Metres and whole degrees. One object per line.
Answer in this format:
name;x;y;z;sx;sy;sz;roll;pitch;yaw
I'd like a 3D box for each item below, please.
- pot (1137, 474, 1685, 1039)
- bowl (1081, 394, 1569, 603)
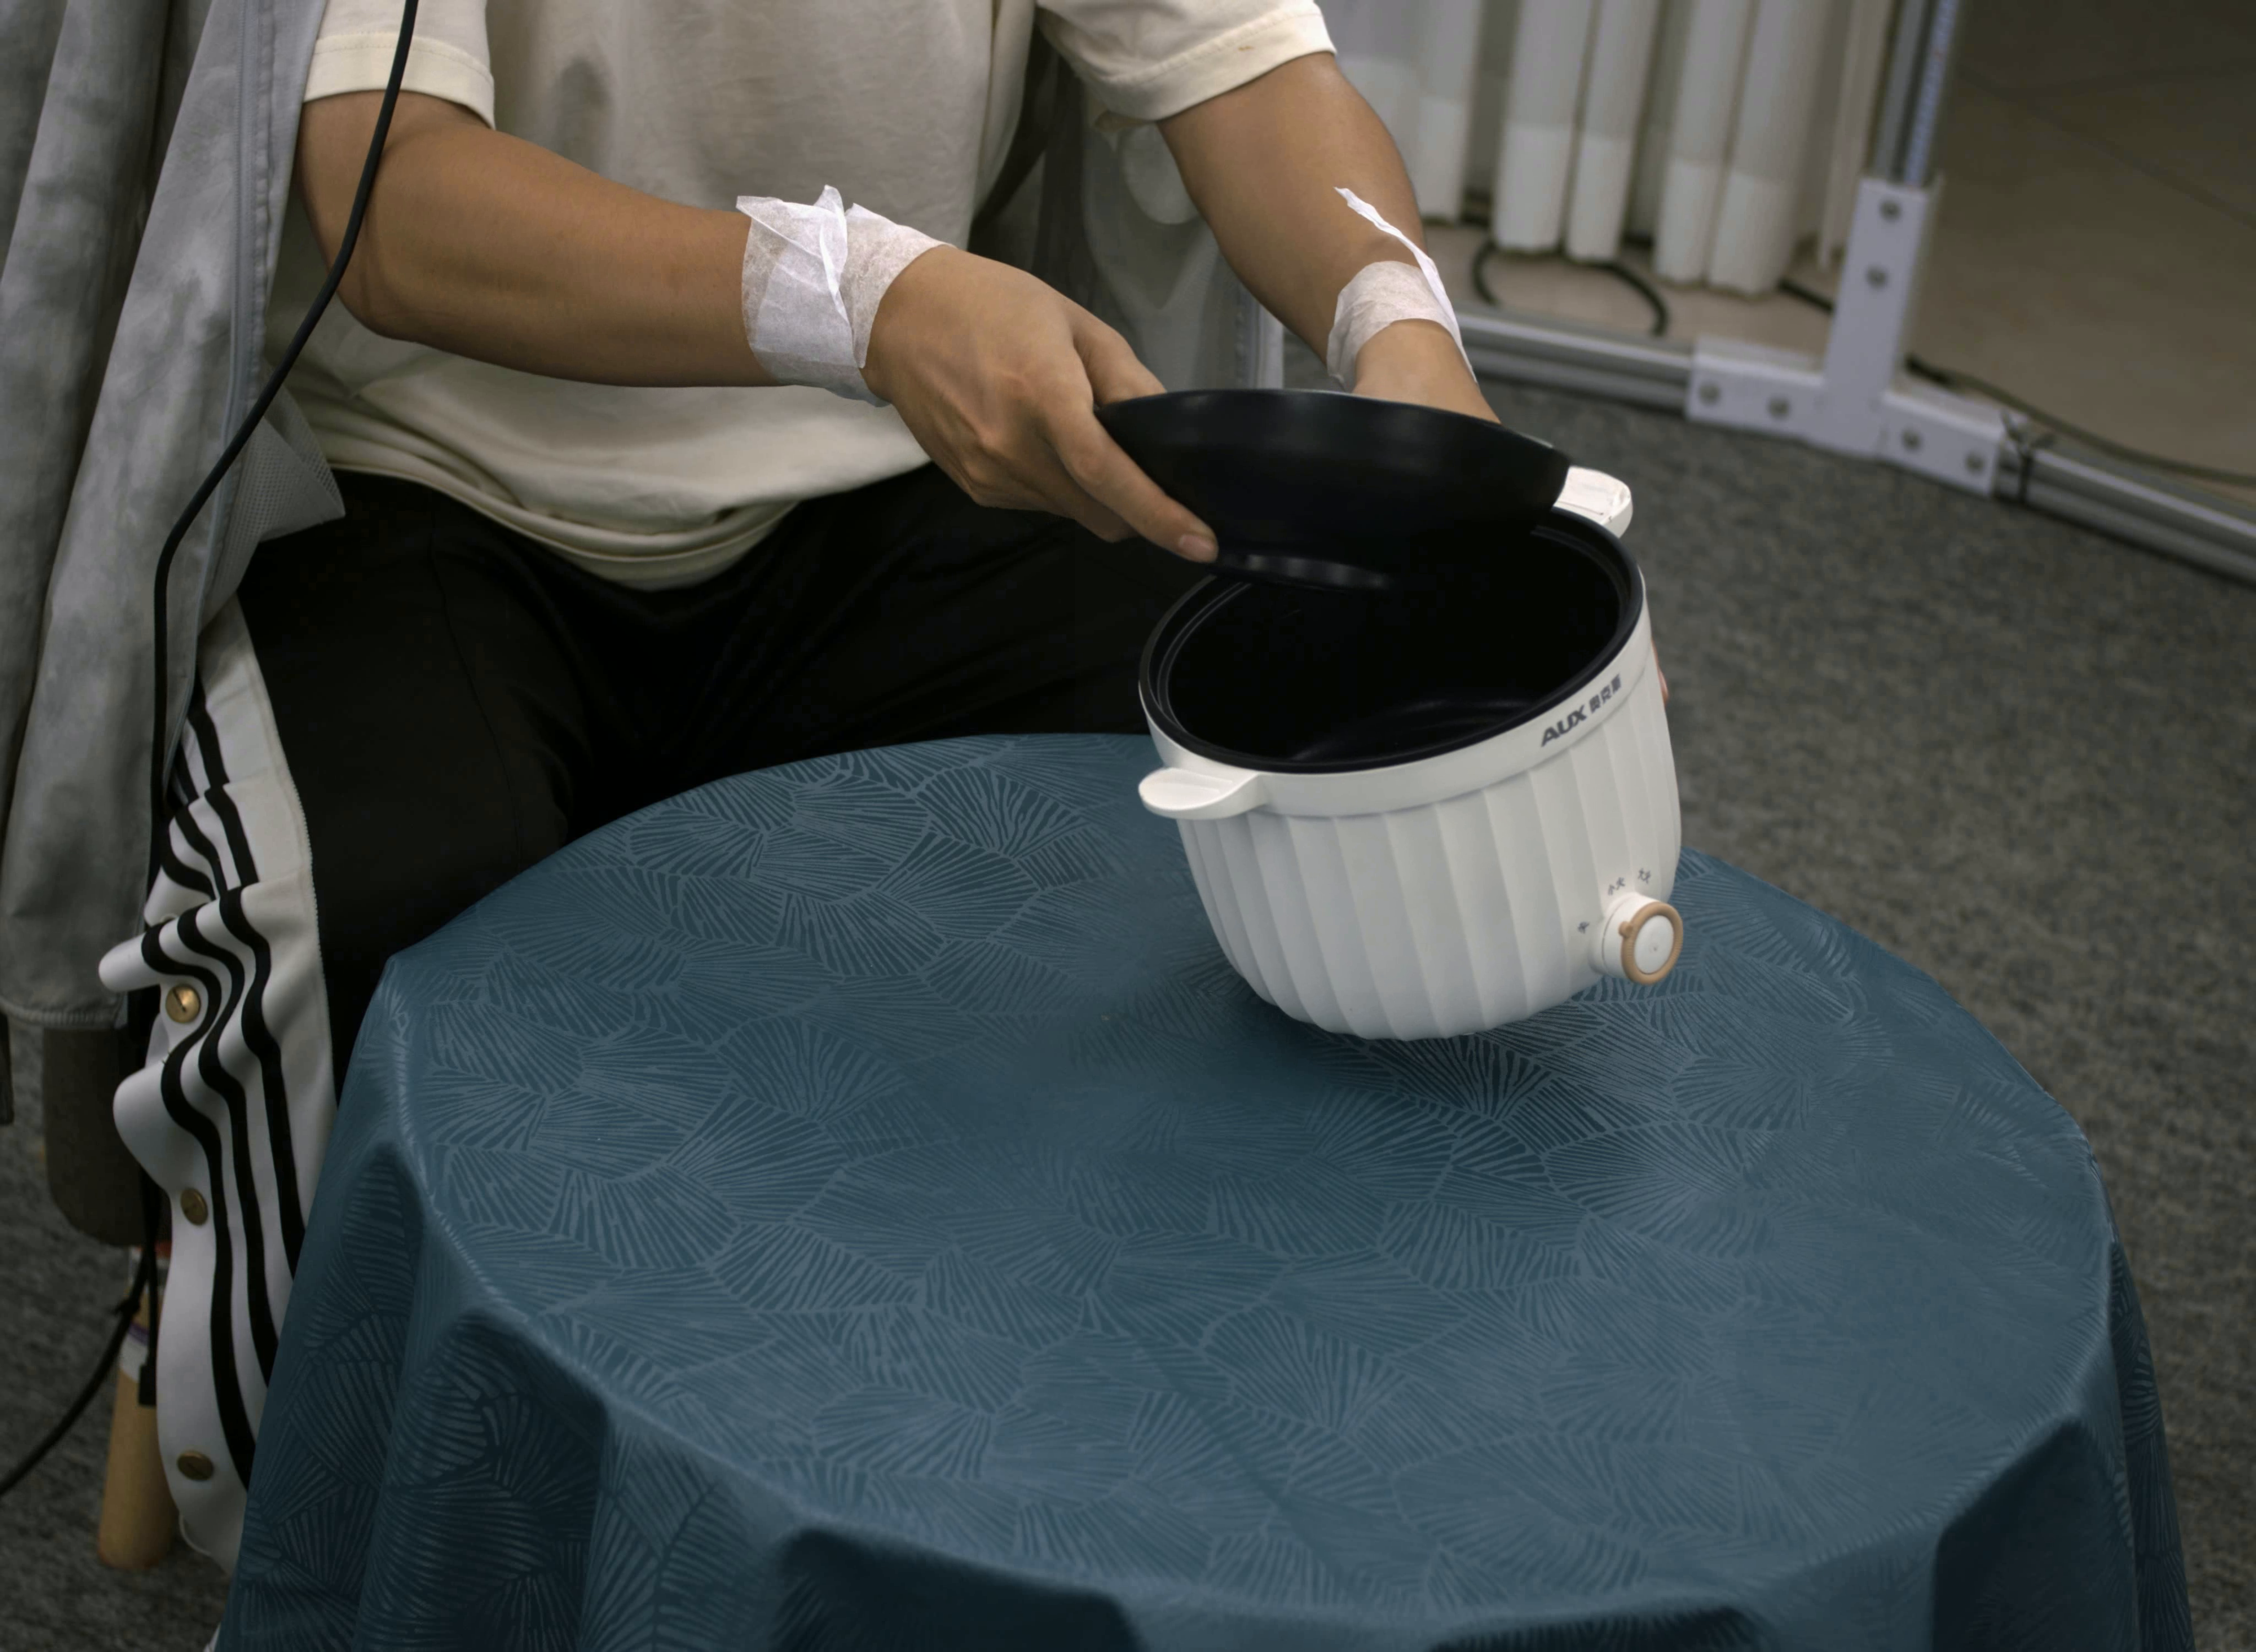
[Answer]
pot;0.111;-0.015;1.905;0.240;0.142;0.192;-37;33;-31
bowl;0.066;-0.113;1.848;0.169;0.067;0.137;8;-1;-6
